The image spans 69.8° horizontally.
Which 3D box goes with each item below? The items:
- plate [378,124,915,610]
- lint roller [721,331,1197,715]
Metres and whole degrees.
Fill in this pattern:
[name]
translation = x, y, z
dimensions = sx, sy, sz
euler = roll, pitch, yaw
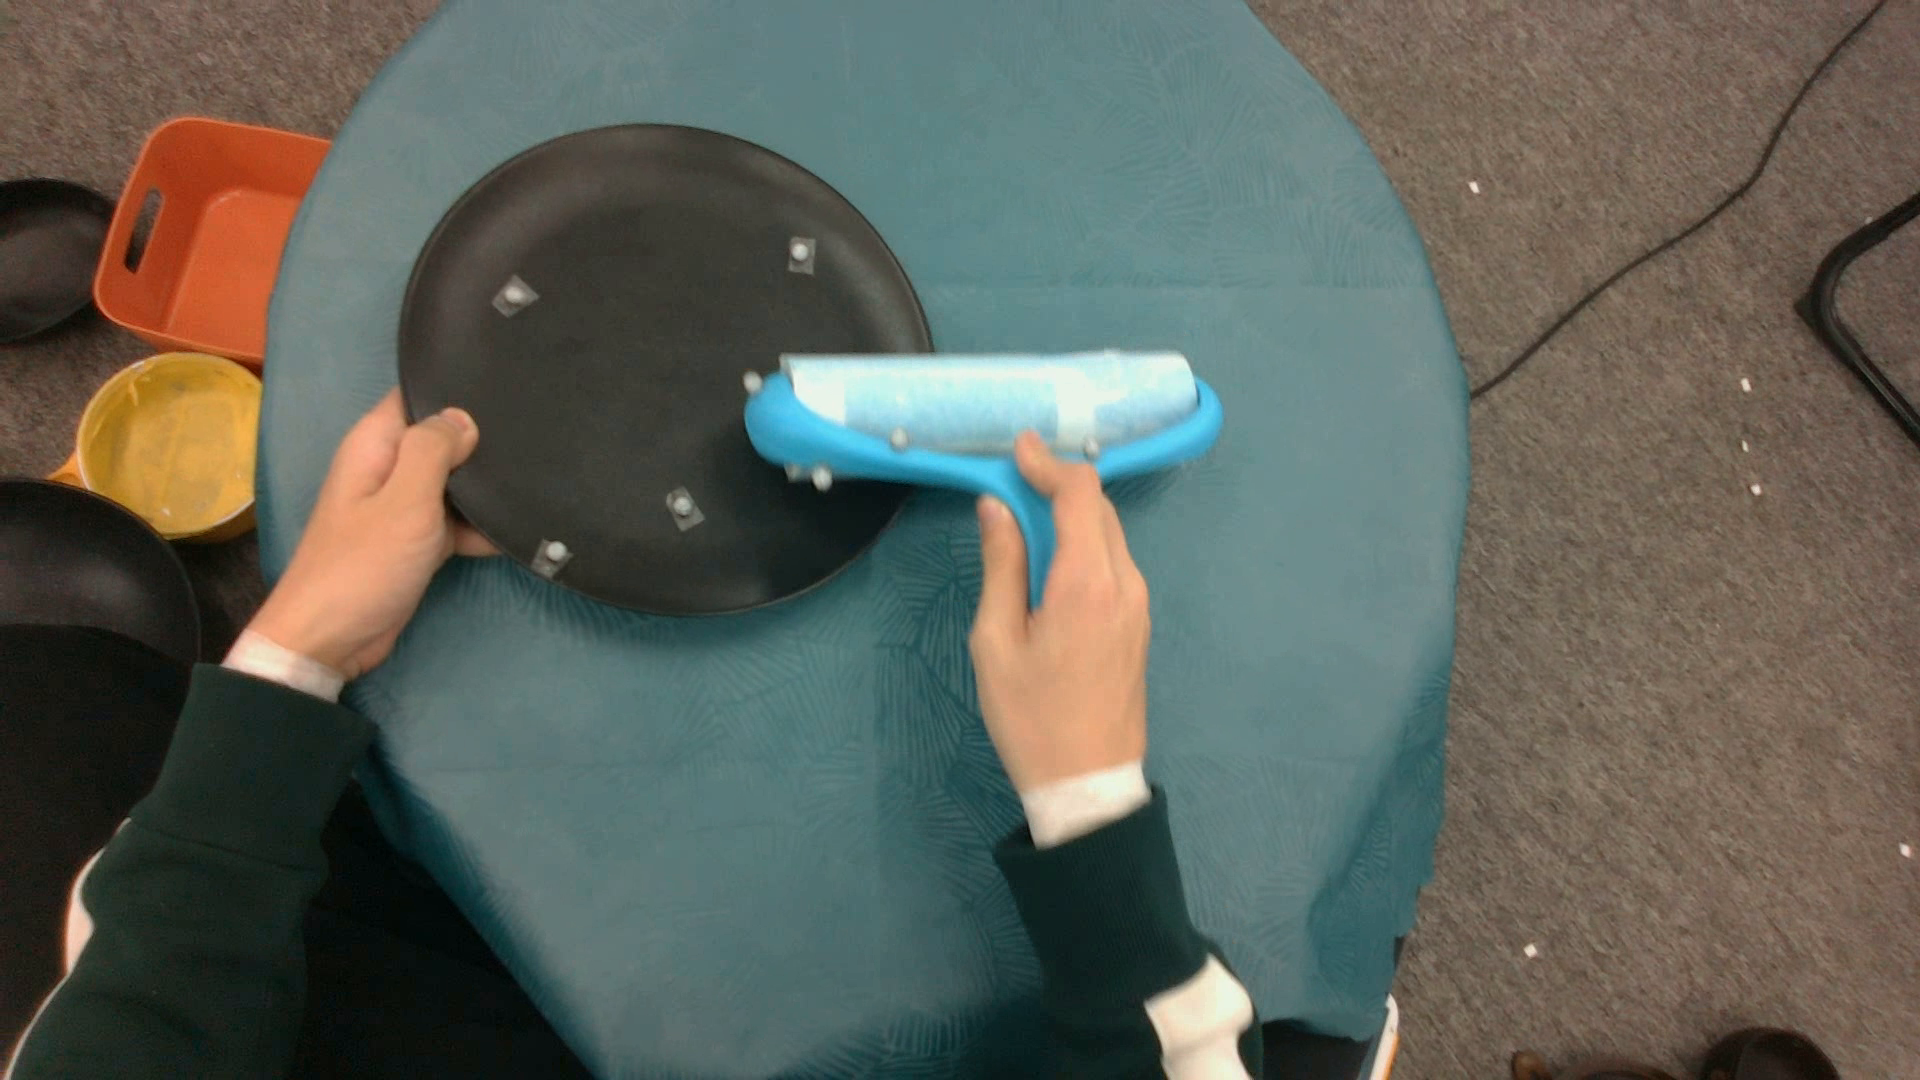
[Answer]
[plate]
translation = -0.140, -0.083, 0.644
dimensions = 0.244, 0.023, 0.245
euler = 5, 71, -16
[lint roller]
translation = 0.019, -0.016, 0.618
dimensions = 0.229, 0.067, 0.181
euler = -7, 62, -21
